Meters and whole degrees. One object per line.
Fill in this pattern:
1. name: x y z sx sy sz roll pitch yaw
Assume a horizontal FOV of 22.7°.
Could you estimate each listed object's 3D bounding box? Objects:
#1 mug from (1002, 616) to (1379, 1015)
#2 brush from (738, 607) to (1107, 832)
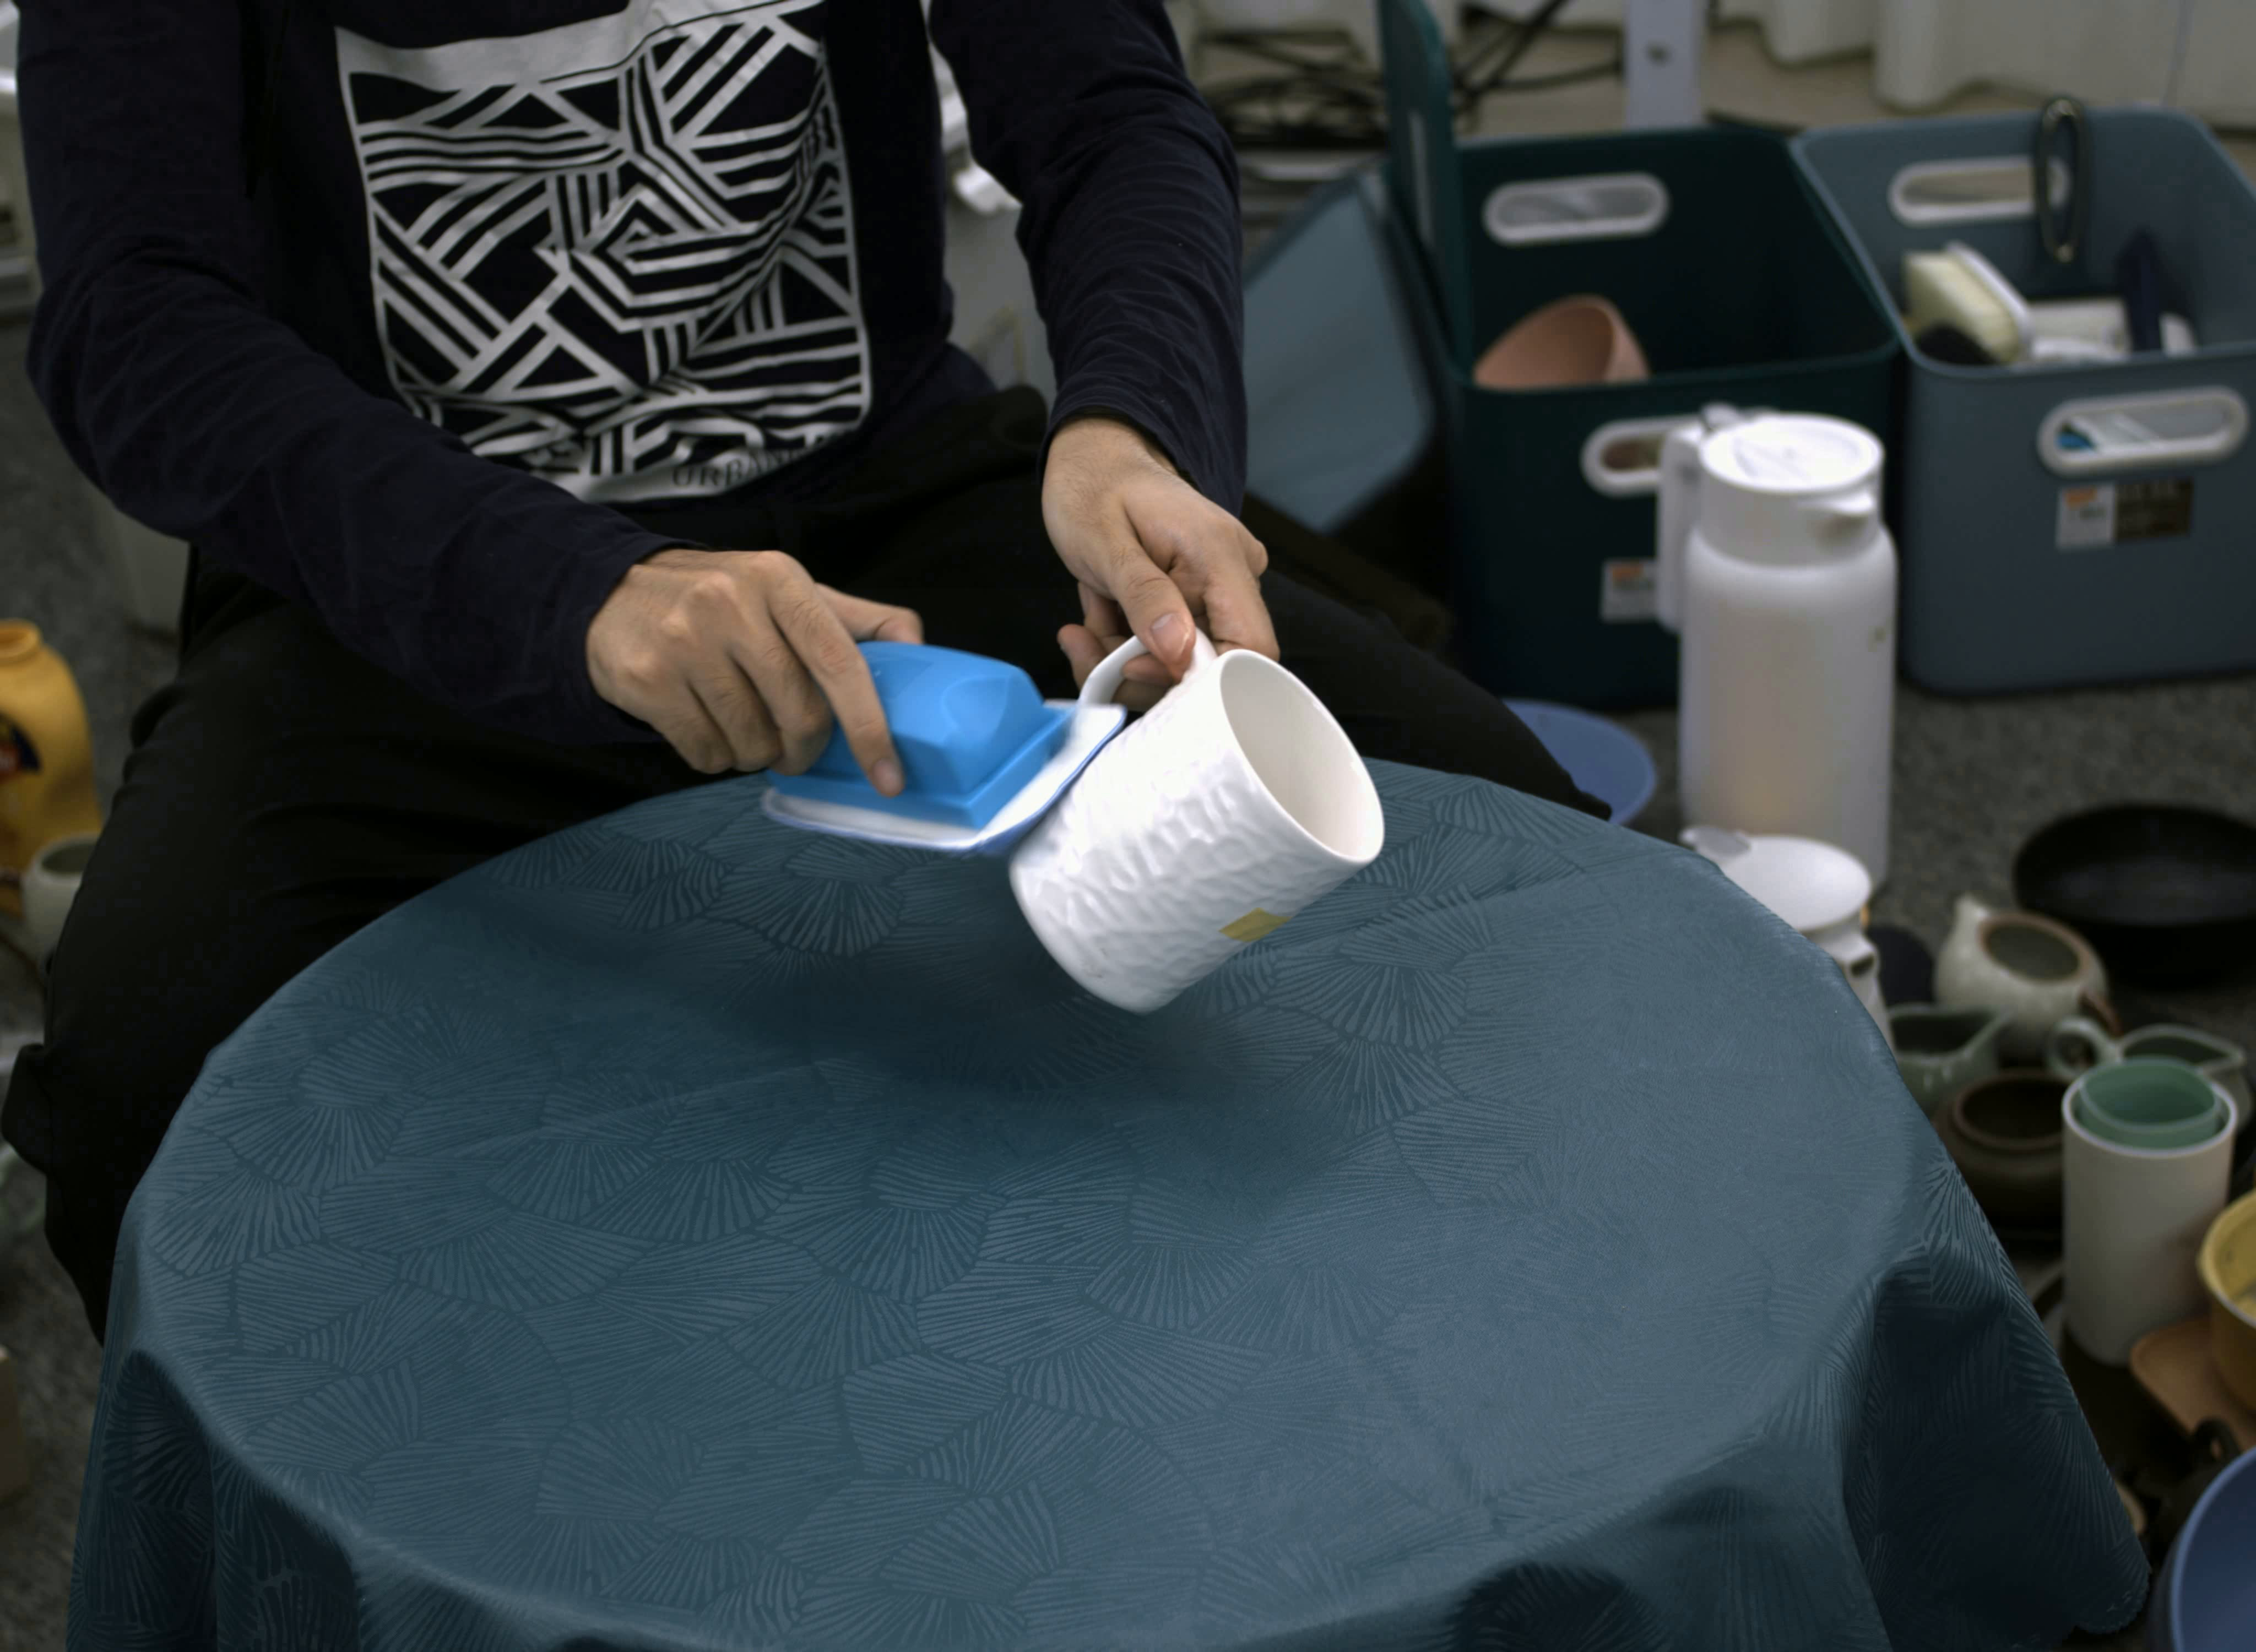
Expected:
1. mug: 0.014 -0.009 1.904 0.085 0.100 0.120 19 41 -52
2. brush: -0.076 -0.039 1.931 0.085 0.055 0.143 -39 29 -26
